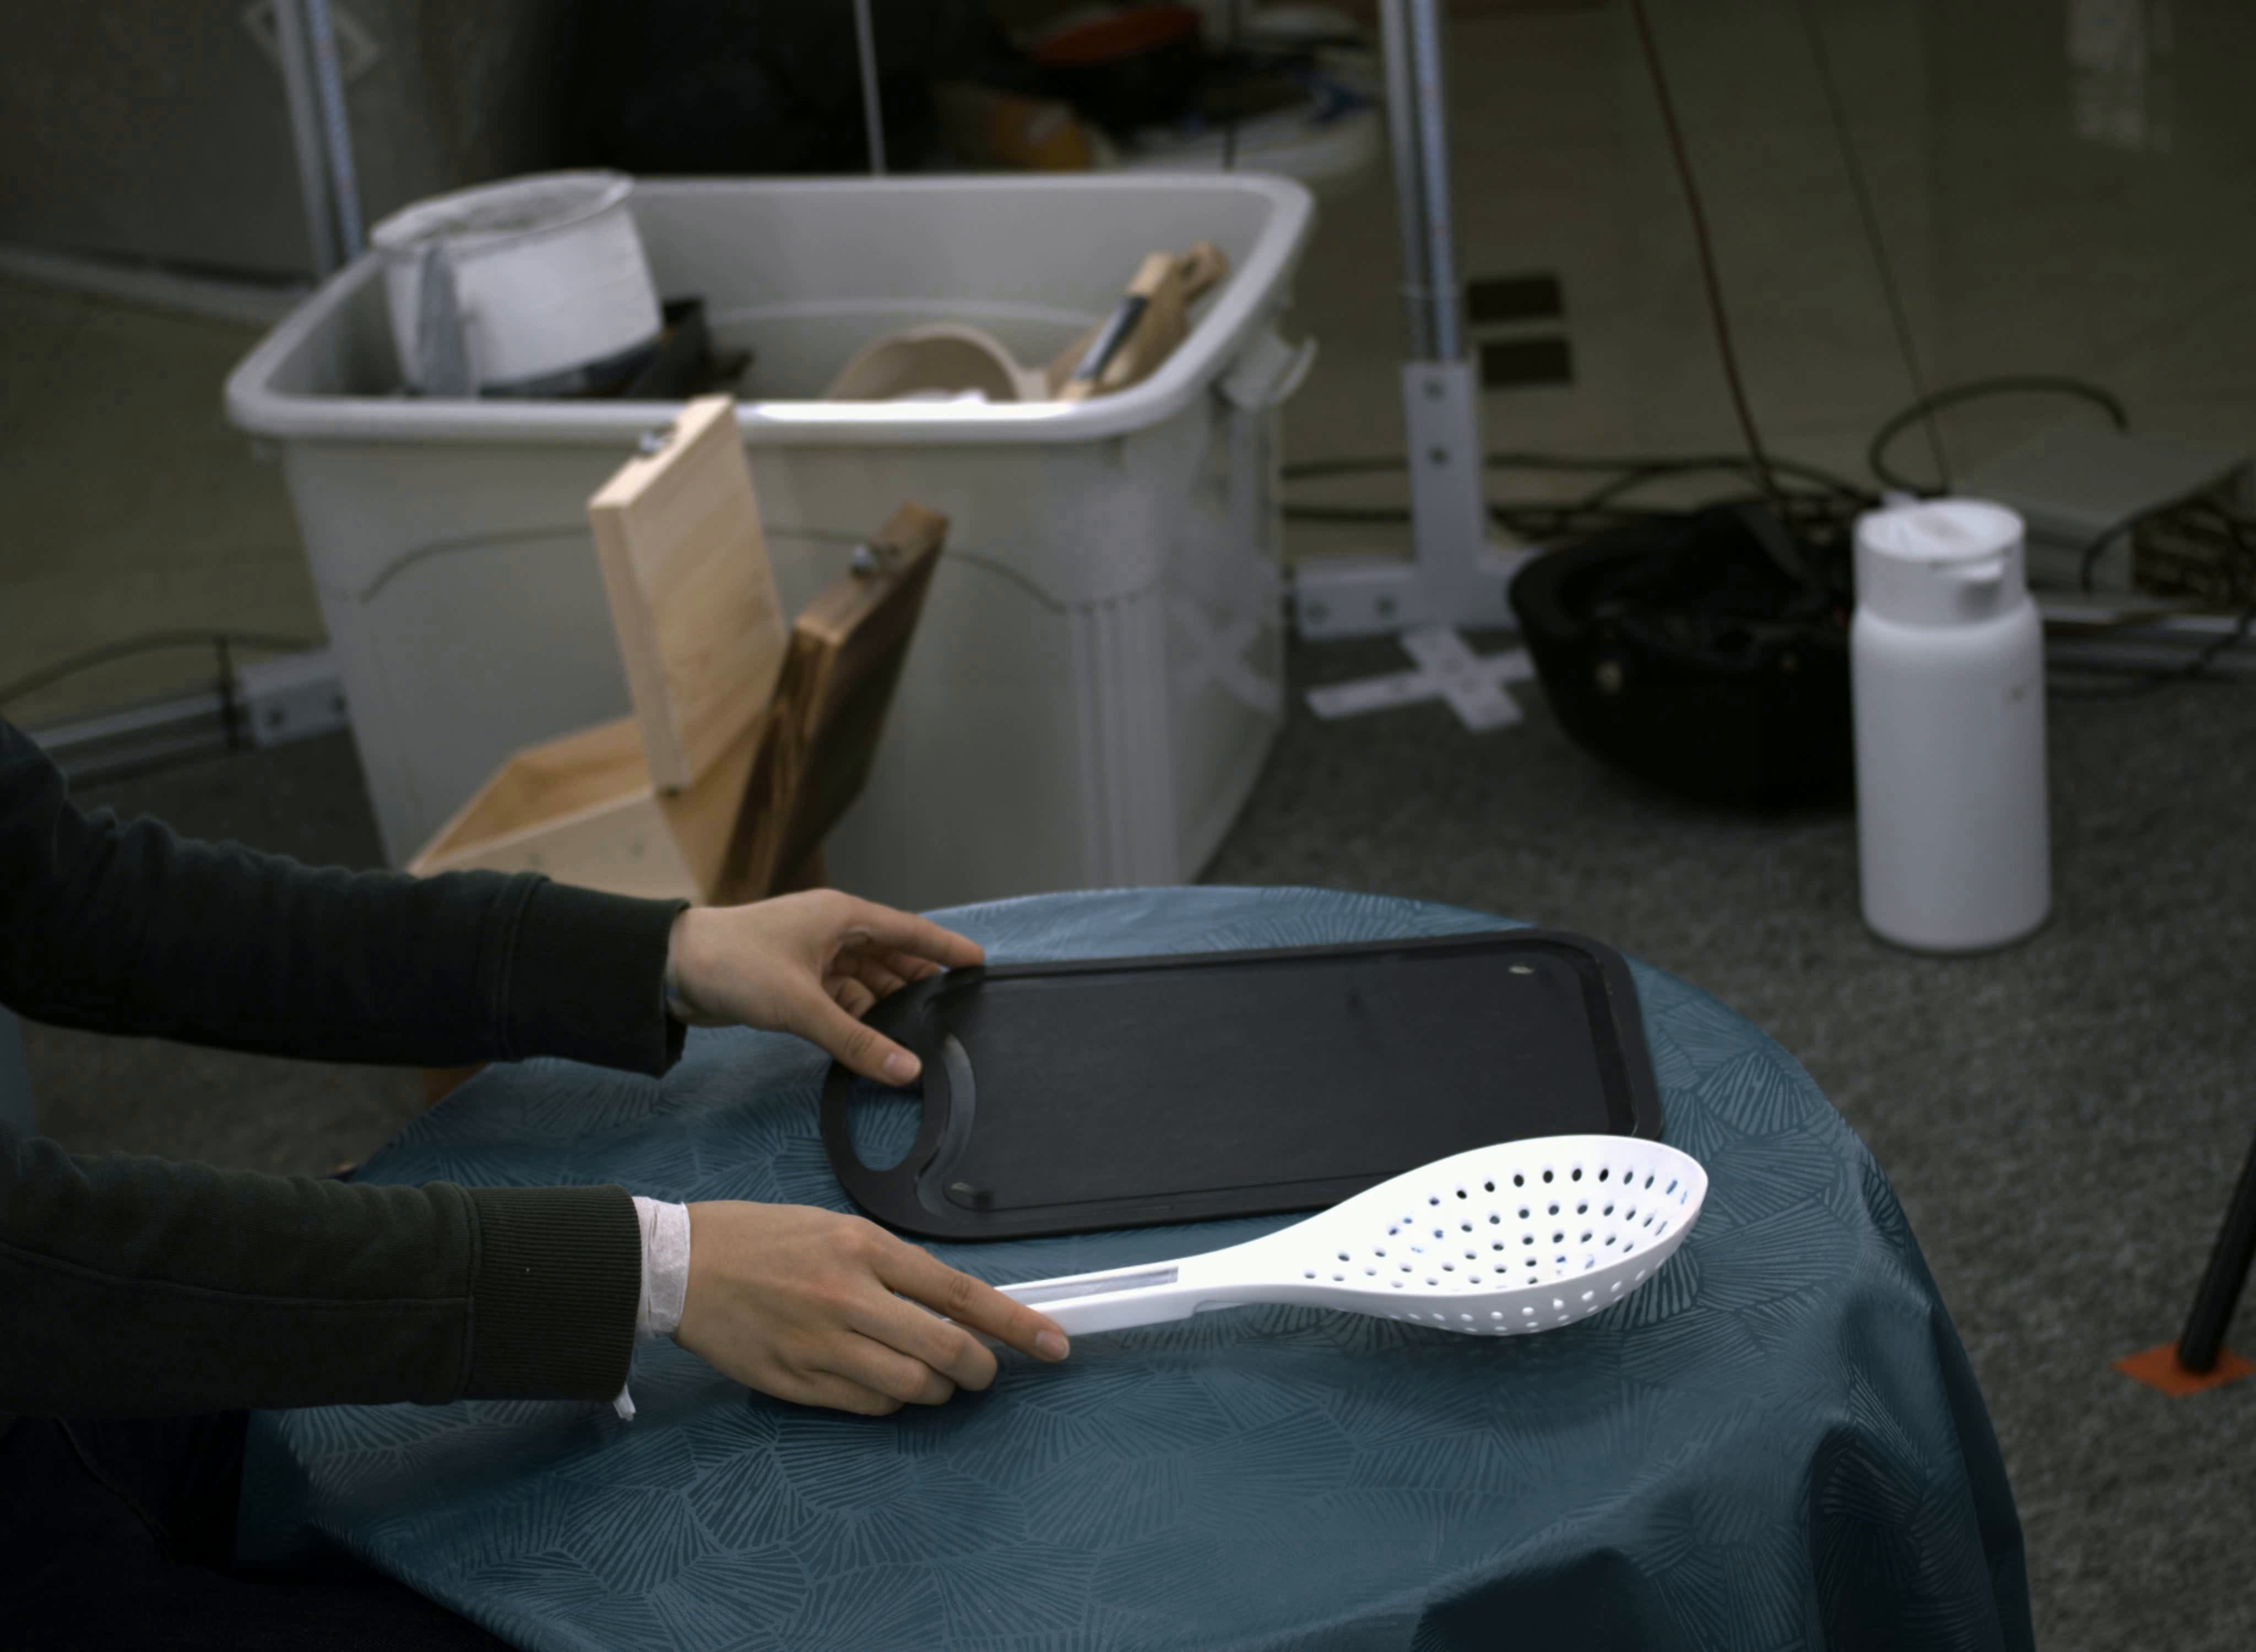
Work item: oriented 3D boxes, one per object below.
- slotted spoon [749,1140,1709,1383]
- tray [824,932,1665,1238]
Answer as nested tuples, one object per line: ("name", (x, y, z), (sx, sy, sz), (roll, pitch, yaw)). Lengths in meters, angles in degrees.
("slotted spoon", (0.035, 0.163, 2.037), (0.349, 0.046, 0.134), (-5, 17, 5))
("tray", (0.042, 0.099, 2.215), (0.325, 0.010, 0.208), (-5, 26, 2))
